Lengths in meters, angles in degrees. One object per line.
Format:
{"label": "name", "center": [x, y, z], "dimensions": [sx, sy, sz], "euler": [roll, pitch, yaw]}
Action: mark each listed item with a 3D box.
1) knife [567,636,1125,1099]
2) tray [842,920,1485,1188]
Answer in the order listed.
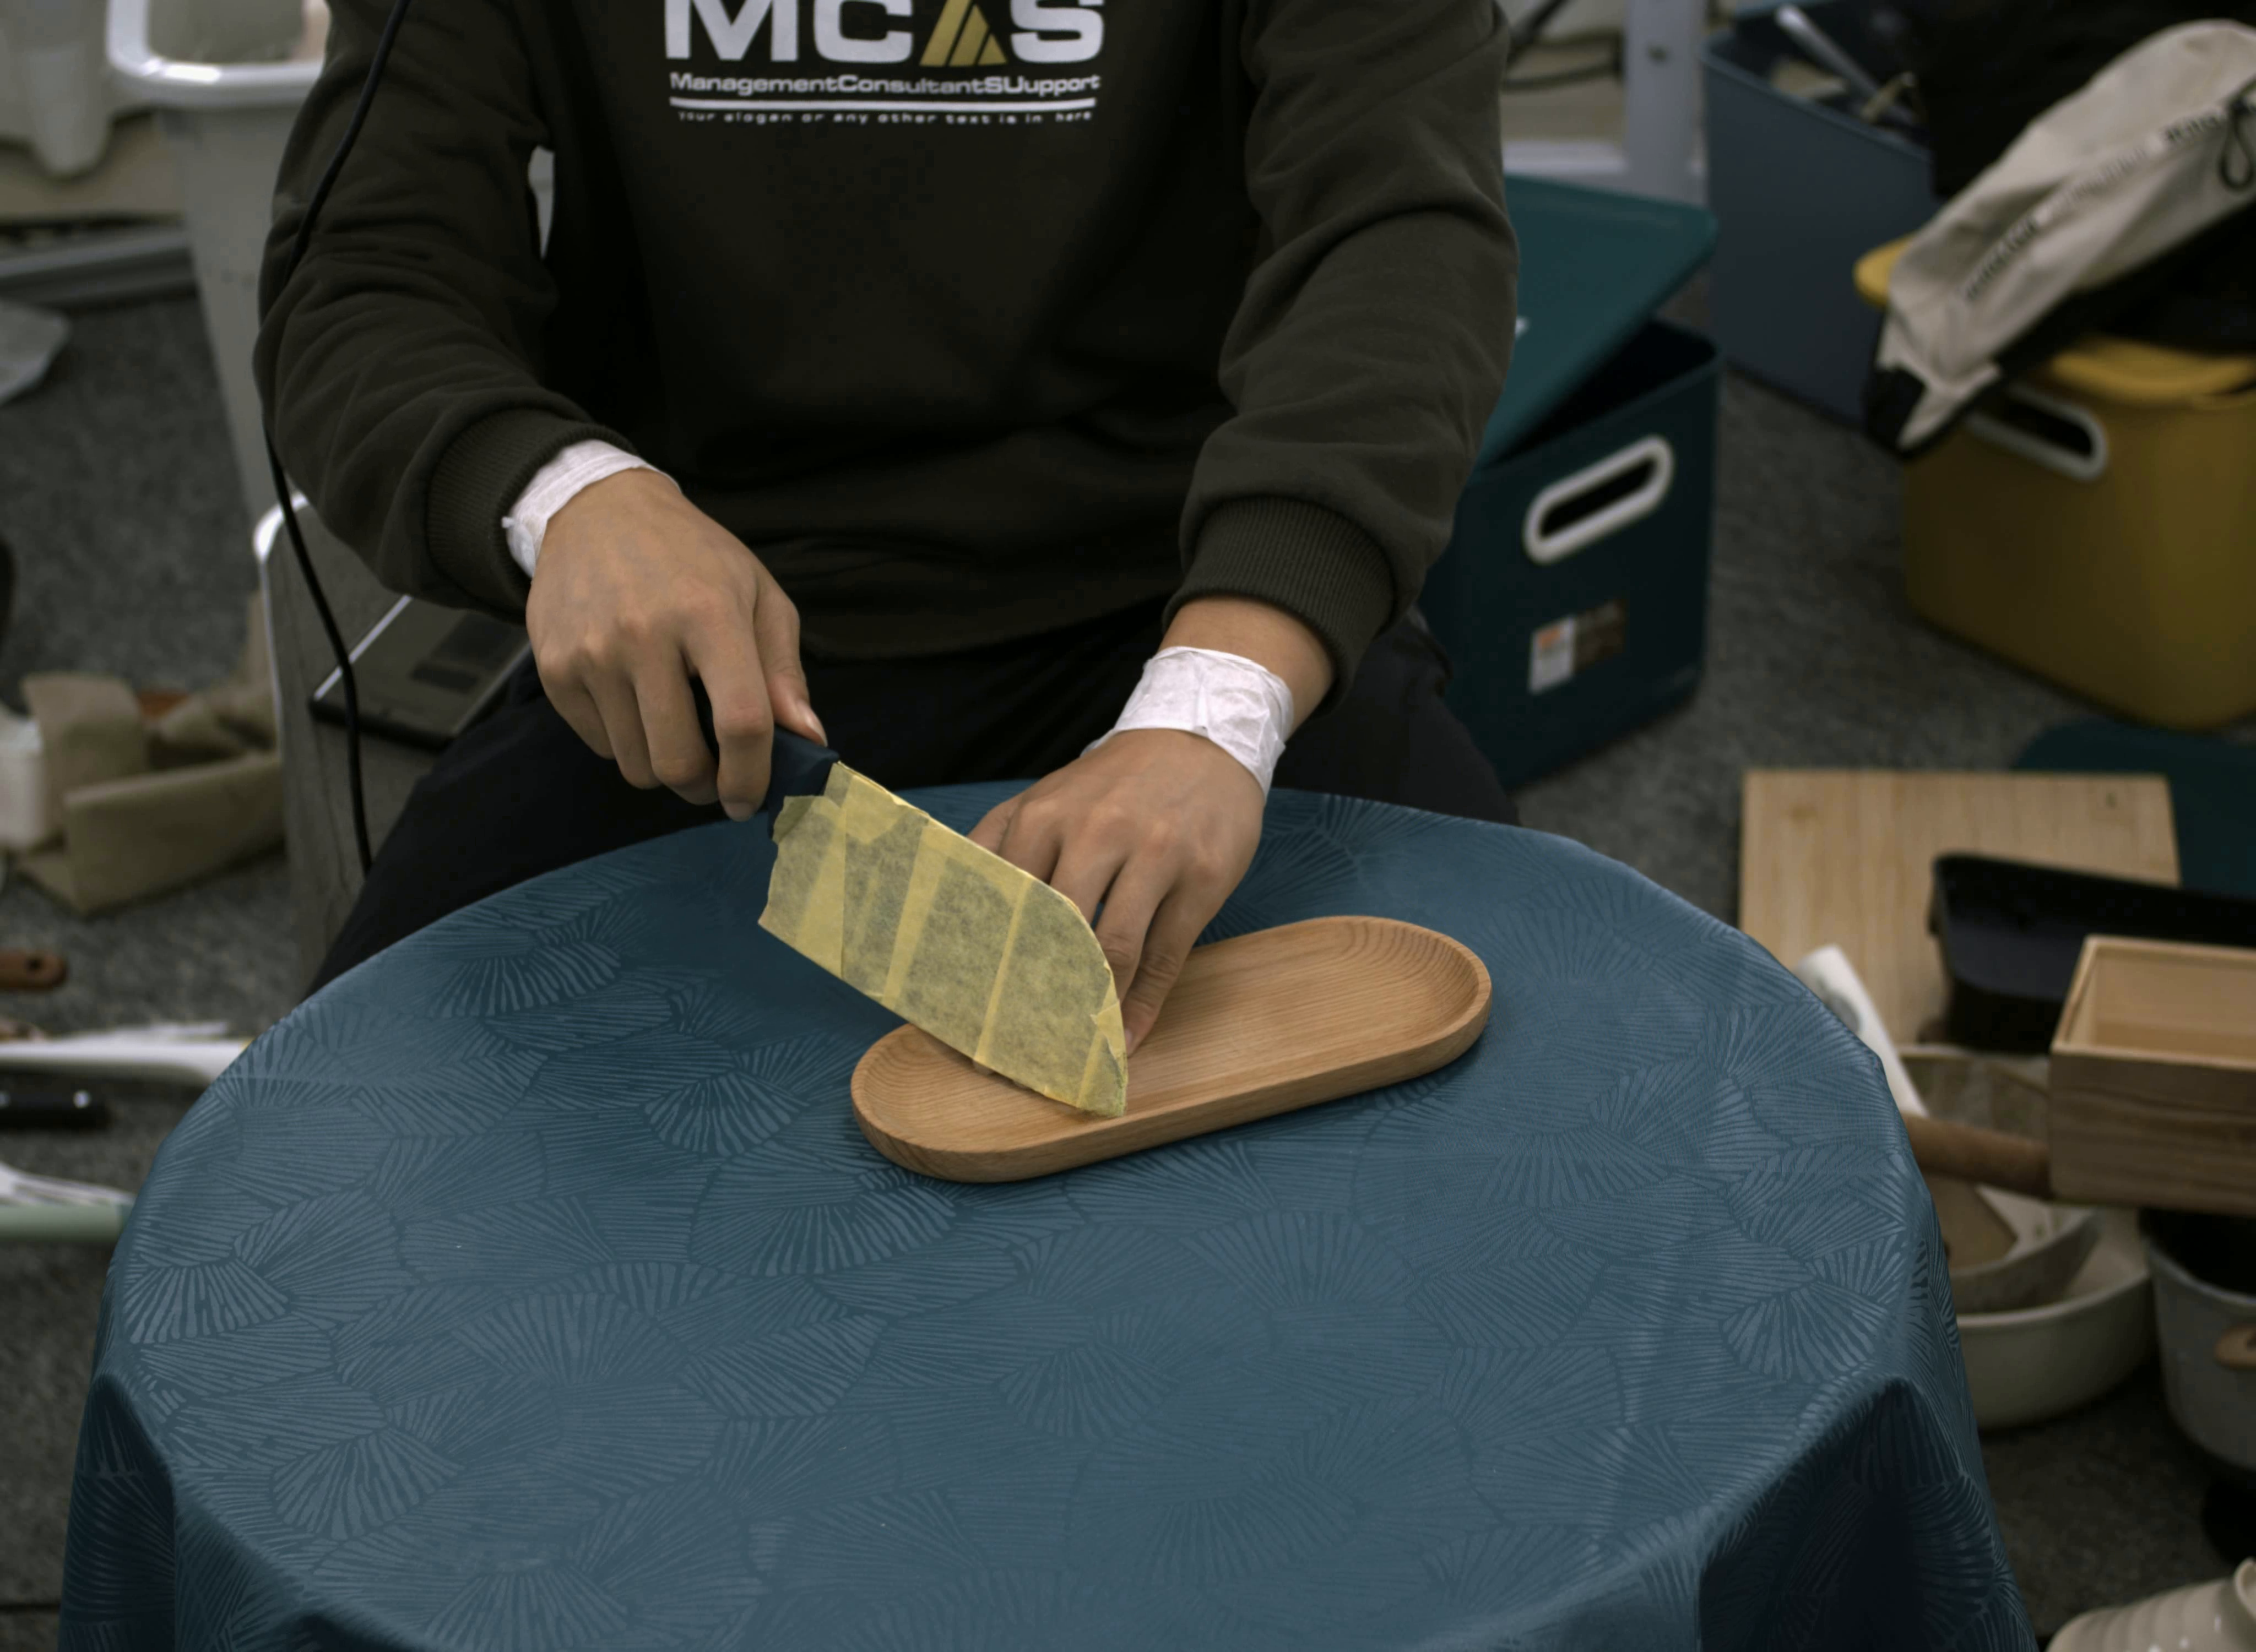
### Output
{"label": "knife", "center": [-0.101, 0.012, 1.954], "dimensions": [0.290, 0.080, 0.027], "euler": [34, 24, 34]}
{"label": "tray", "center": [0.013, 0.078, 1.927], "dimensions": [0.232, 0.020, 0.102], "euler": [-15, 28, -19]}
